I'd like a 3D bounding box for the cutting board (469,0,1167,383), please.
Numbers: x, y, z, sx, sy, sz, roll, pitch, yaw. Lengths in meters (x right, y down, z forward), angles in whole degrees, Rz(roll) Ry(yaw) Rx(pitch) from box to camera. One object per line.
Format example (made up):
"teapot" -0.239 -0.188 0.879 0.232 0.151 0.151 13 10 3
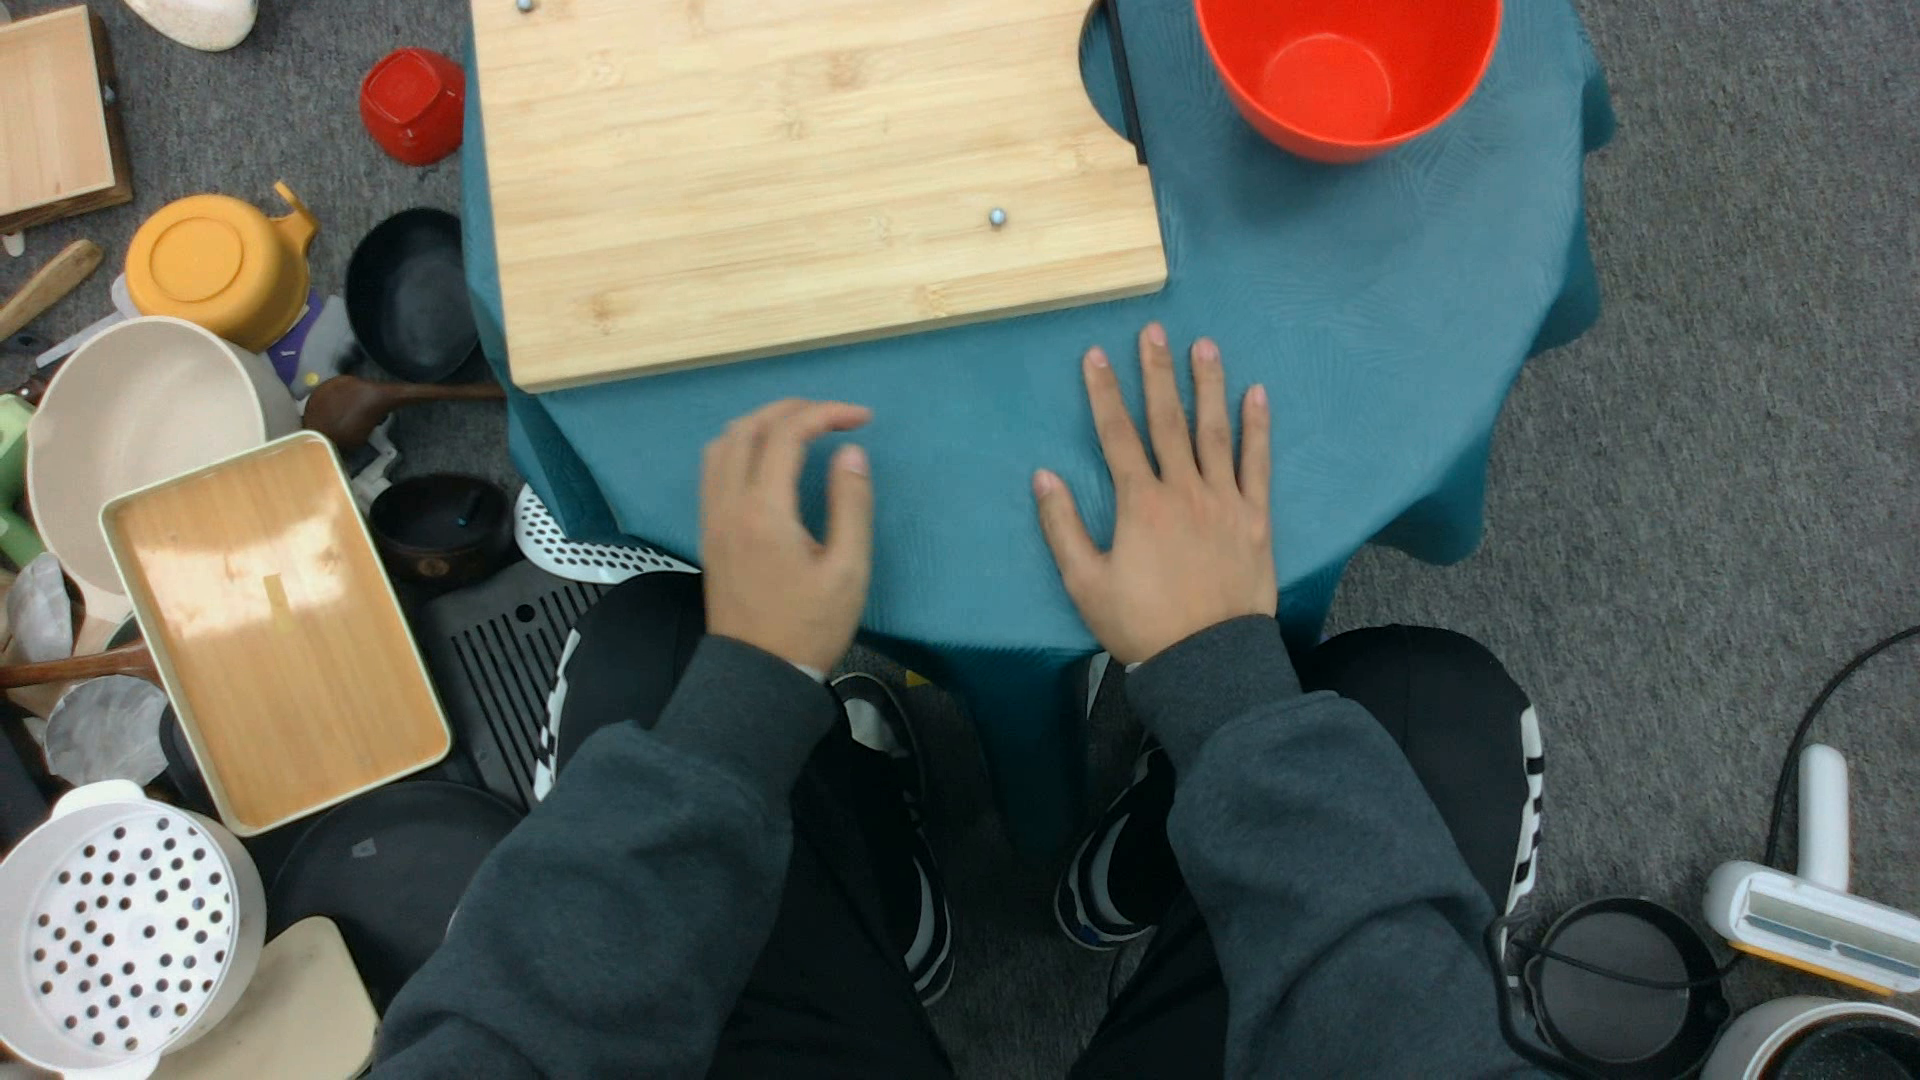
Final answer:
"cutting board" -0.083 -0.227 0.731 0.348 0.023 0.251 -10 80 0

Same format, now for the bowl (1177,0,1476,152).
"bowl" 0.173 -0.258 0.688 0.148 0.104 0.148 0 79 0
